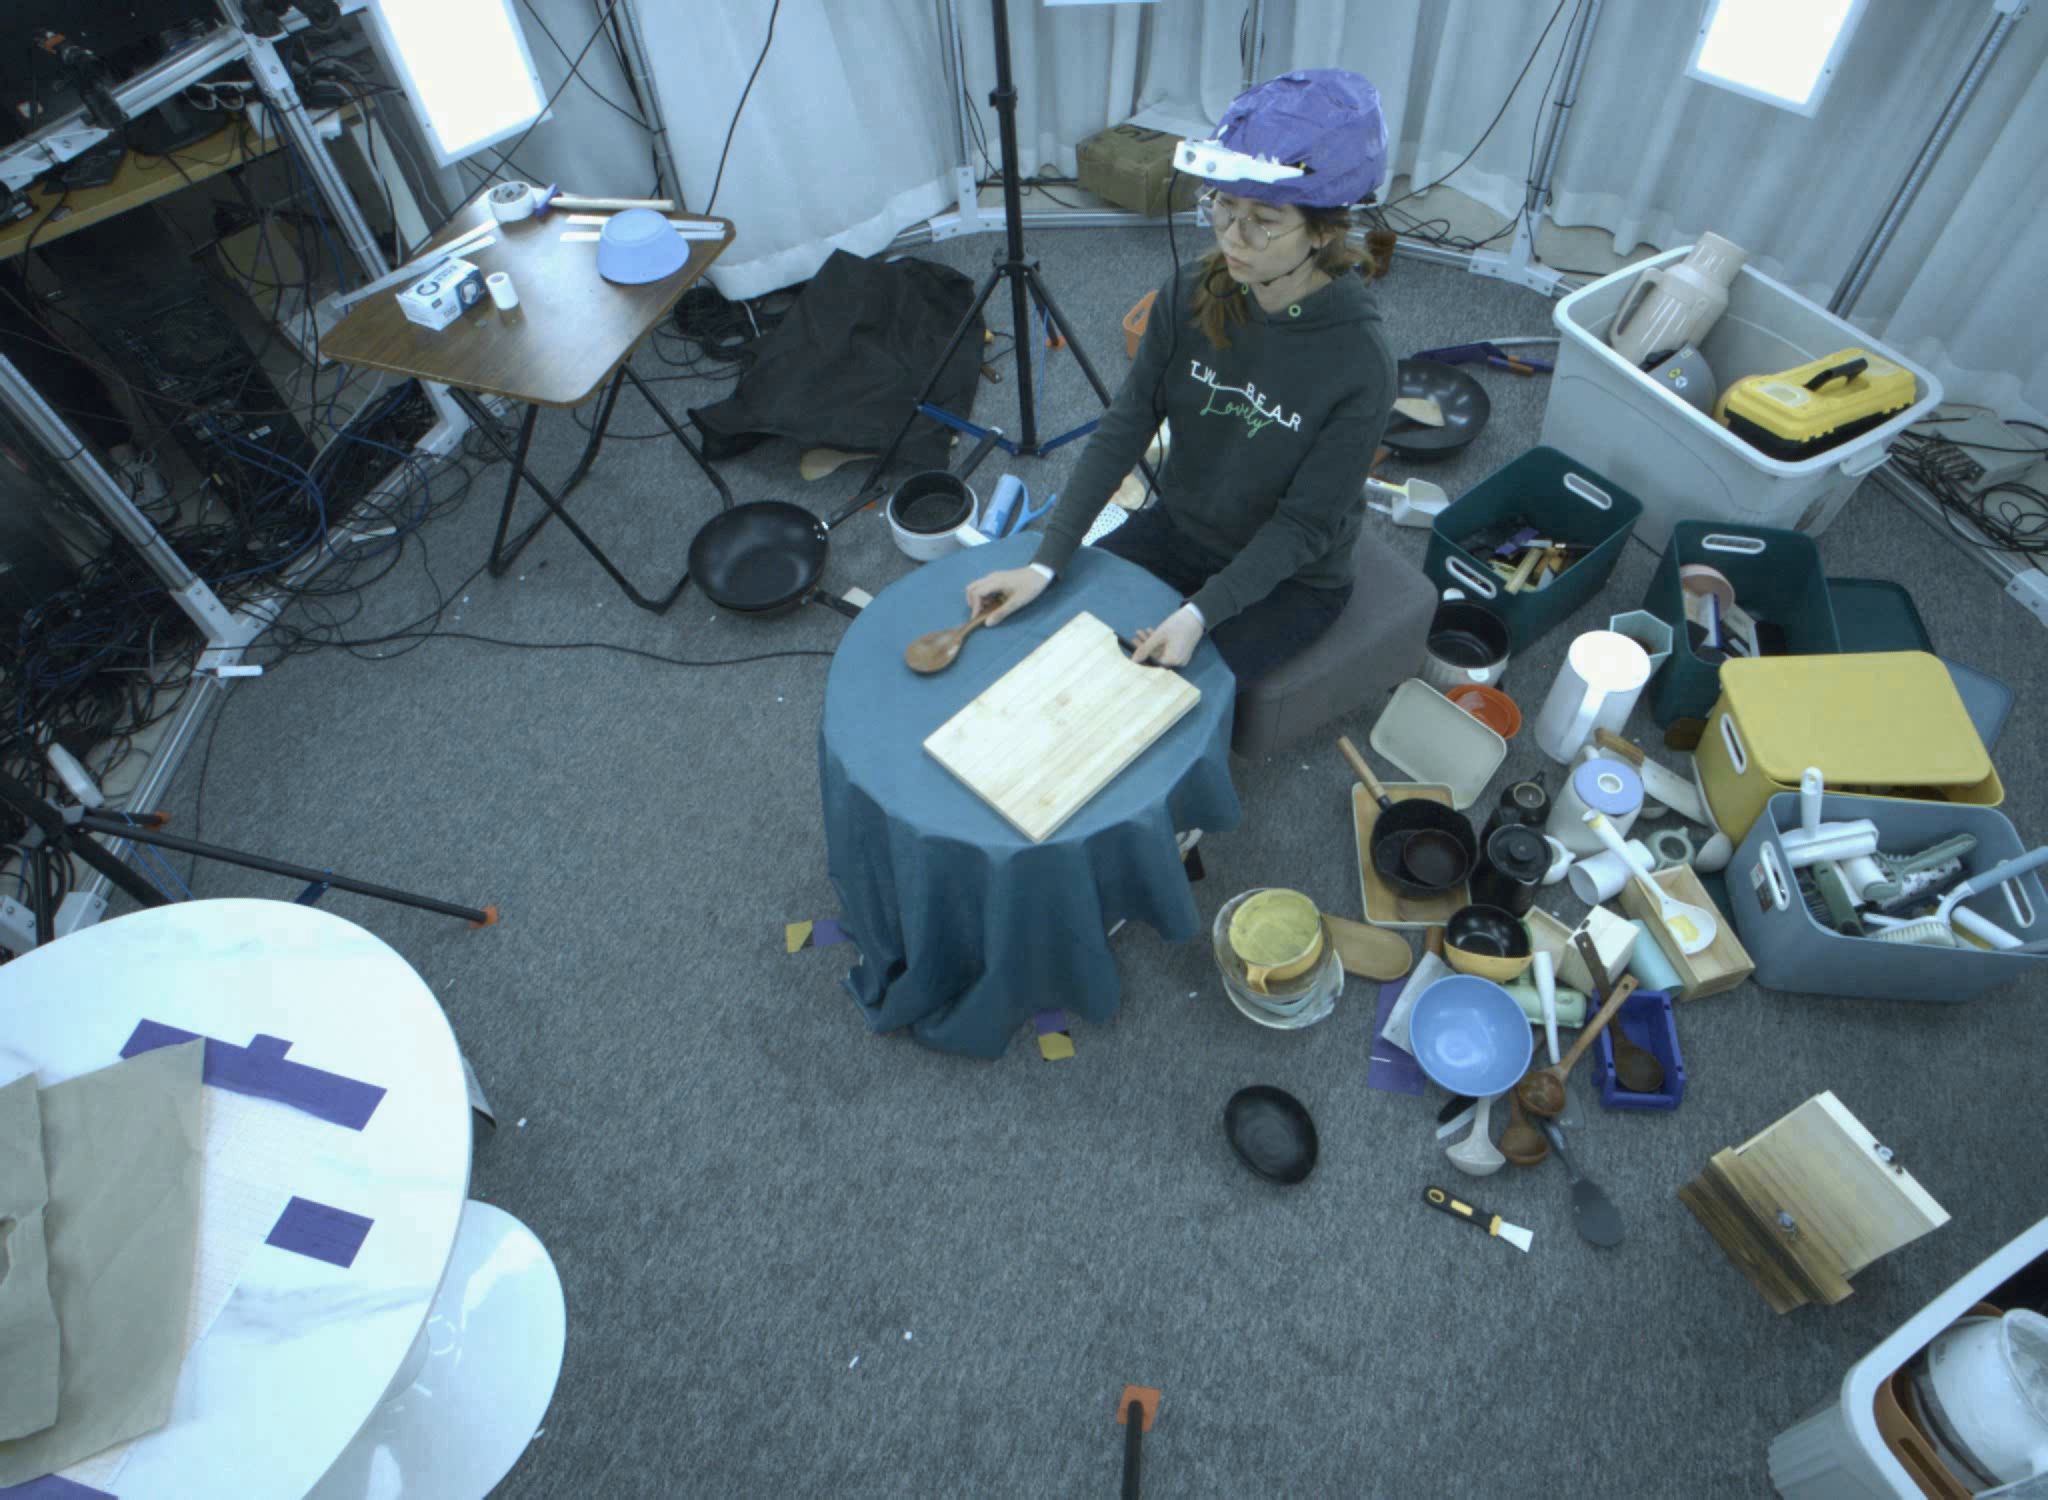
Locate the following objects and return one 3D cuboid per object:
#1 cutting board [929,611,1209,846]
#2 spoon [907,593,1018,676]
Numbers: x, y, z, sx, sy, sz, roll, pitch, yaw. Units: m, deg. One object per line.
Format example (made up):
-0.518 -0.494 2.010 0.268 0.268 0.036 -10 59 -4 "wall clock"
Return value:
0.064 -0.042 1.807 0.246 0.024 0.351 38 67 24 "cutting board"
-0.092 -0.181 1.917 0.217 0.017 0.074 -39 60 -22 "spoon"
